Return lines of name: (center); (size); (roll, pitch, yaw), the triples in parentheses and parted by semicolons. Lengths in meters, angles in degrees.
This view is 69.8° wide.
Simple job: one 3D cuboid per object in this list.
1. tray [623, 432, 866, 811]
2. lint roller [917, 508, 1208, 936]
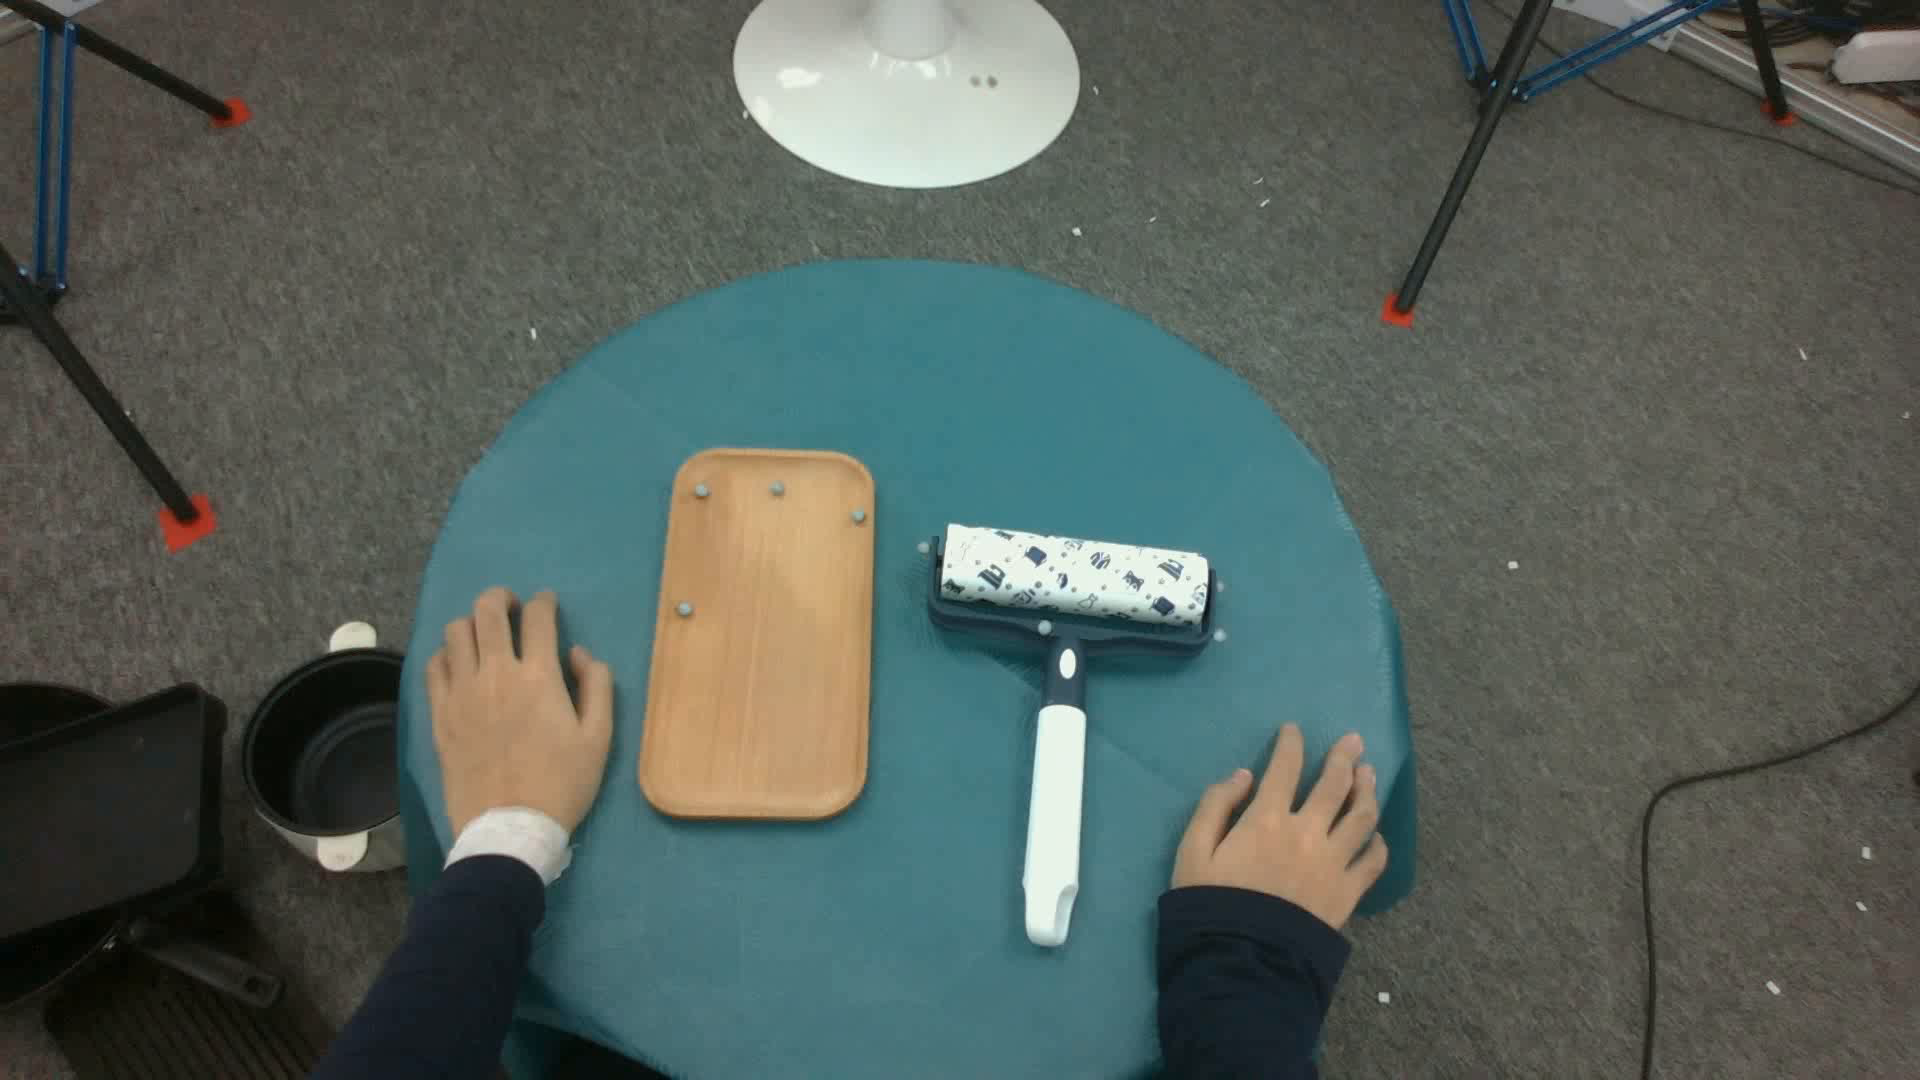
tray: (-0.123, 0.042, 0.825); (0.130, 0.023, 0.252); (2, 59, -2)
lint roller: (0.055, 0.100, 0.792); (0.176, 0.050, 0.248); (7, 60, -2)
